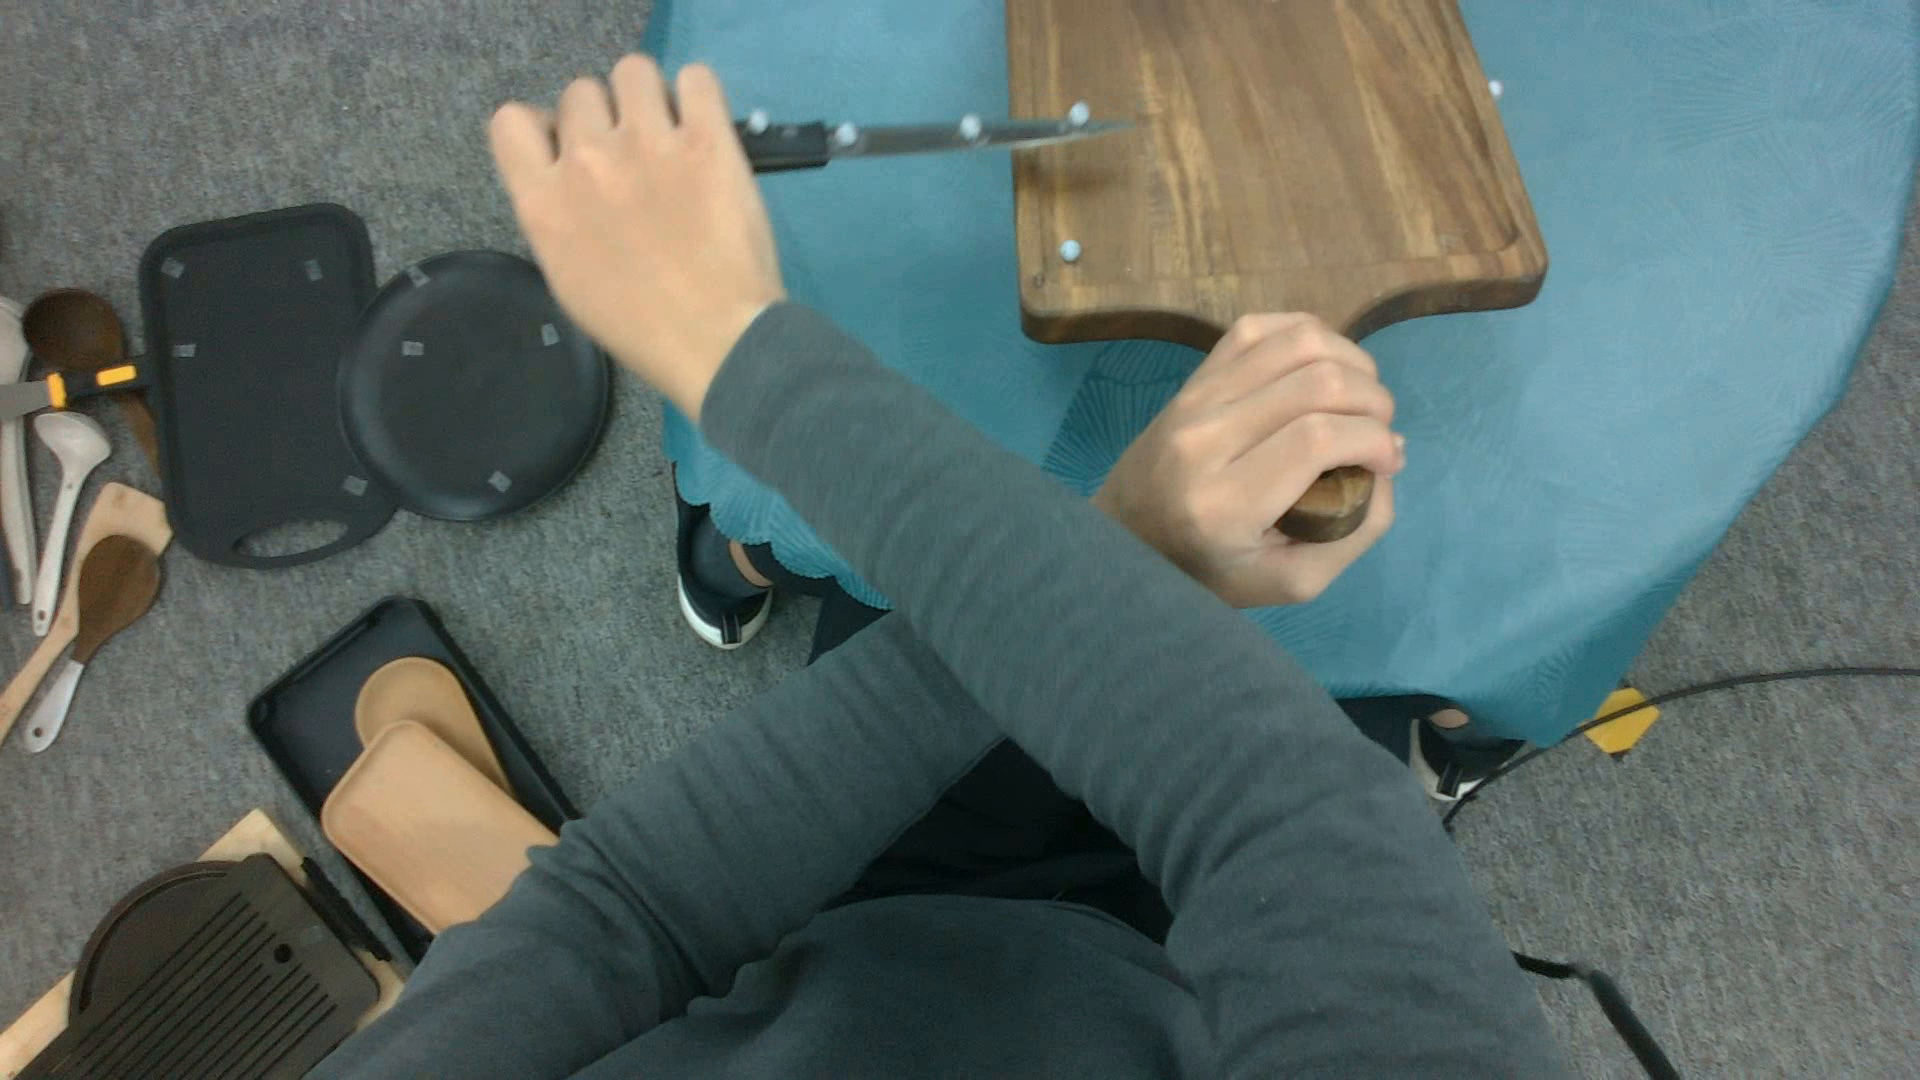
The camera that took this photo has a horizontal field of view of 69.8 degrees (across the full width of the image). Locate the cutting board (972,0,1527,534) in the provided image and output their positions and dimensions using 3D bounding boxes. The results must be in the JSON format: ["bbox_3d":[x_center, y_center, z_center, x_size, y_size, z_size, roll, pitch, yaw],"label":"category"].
[{"bbox_3d":[0.111,-0.151,0.562,0.201,0.023,0.353,-4,55,2],"label":"cutting board"}]

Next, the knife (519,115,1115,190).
[{"bbox_3d":[-0.054,-0.156,0.547,0.238,0.016,0.024,-6,51,-5],"label":"knife"}]
